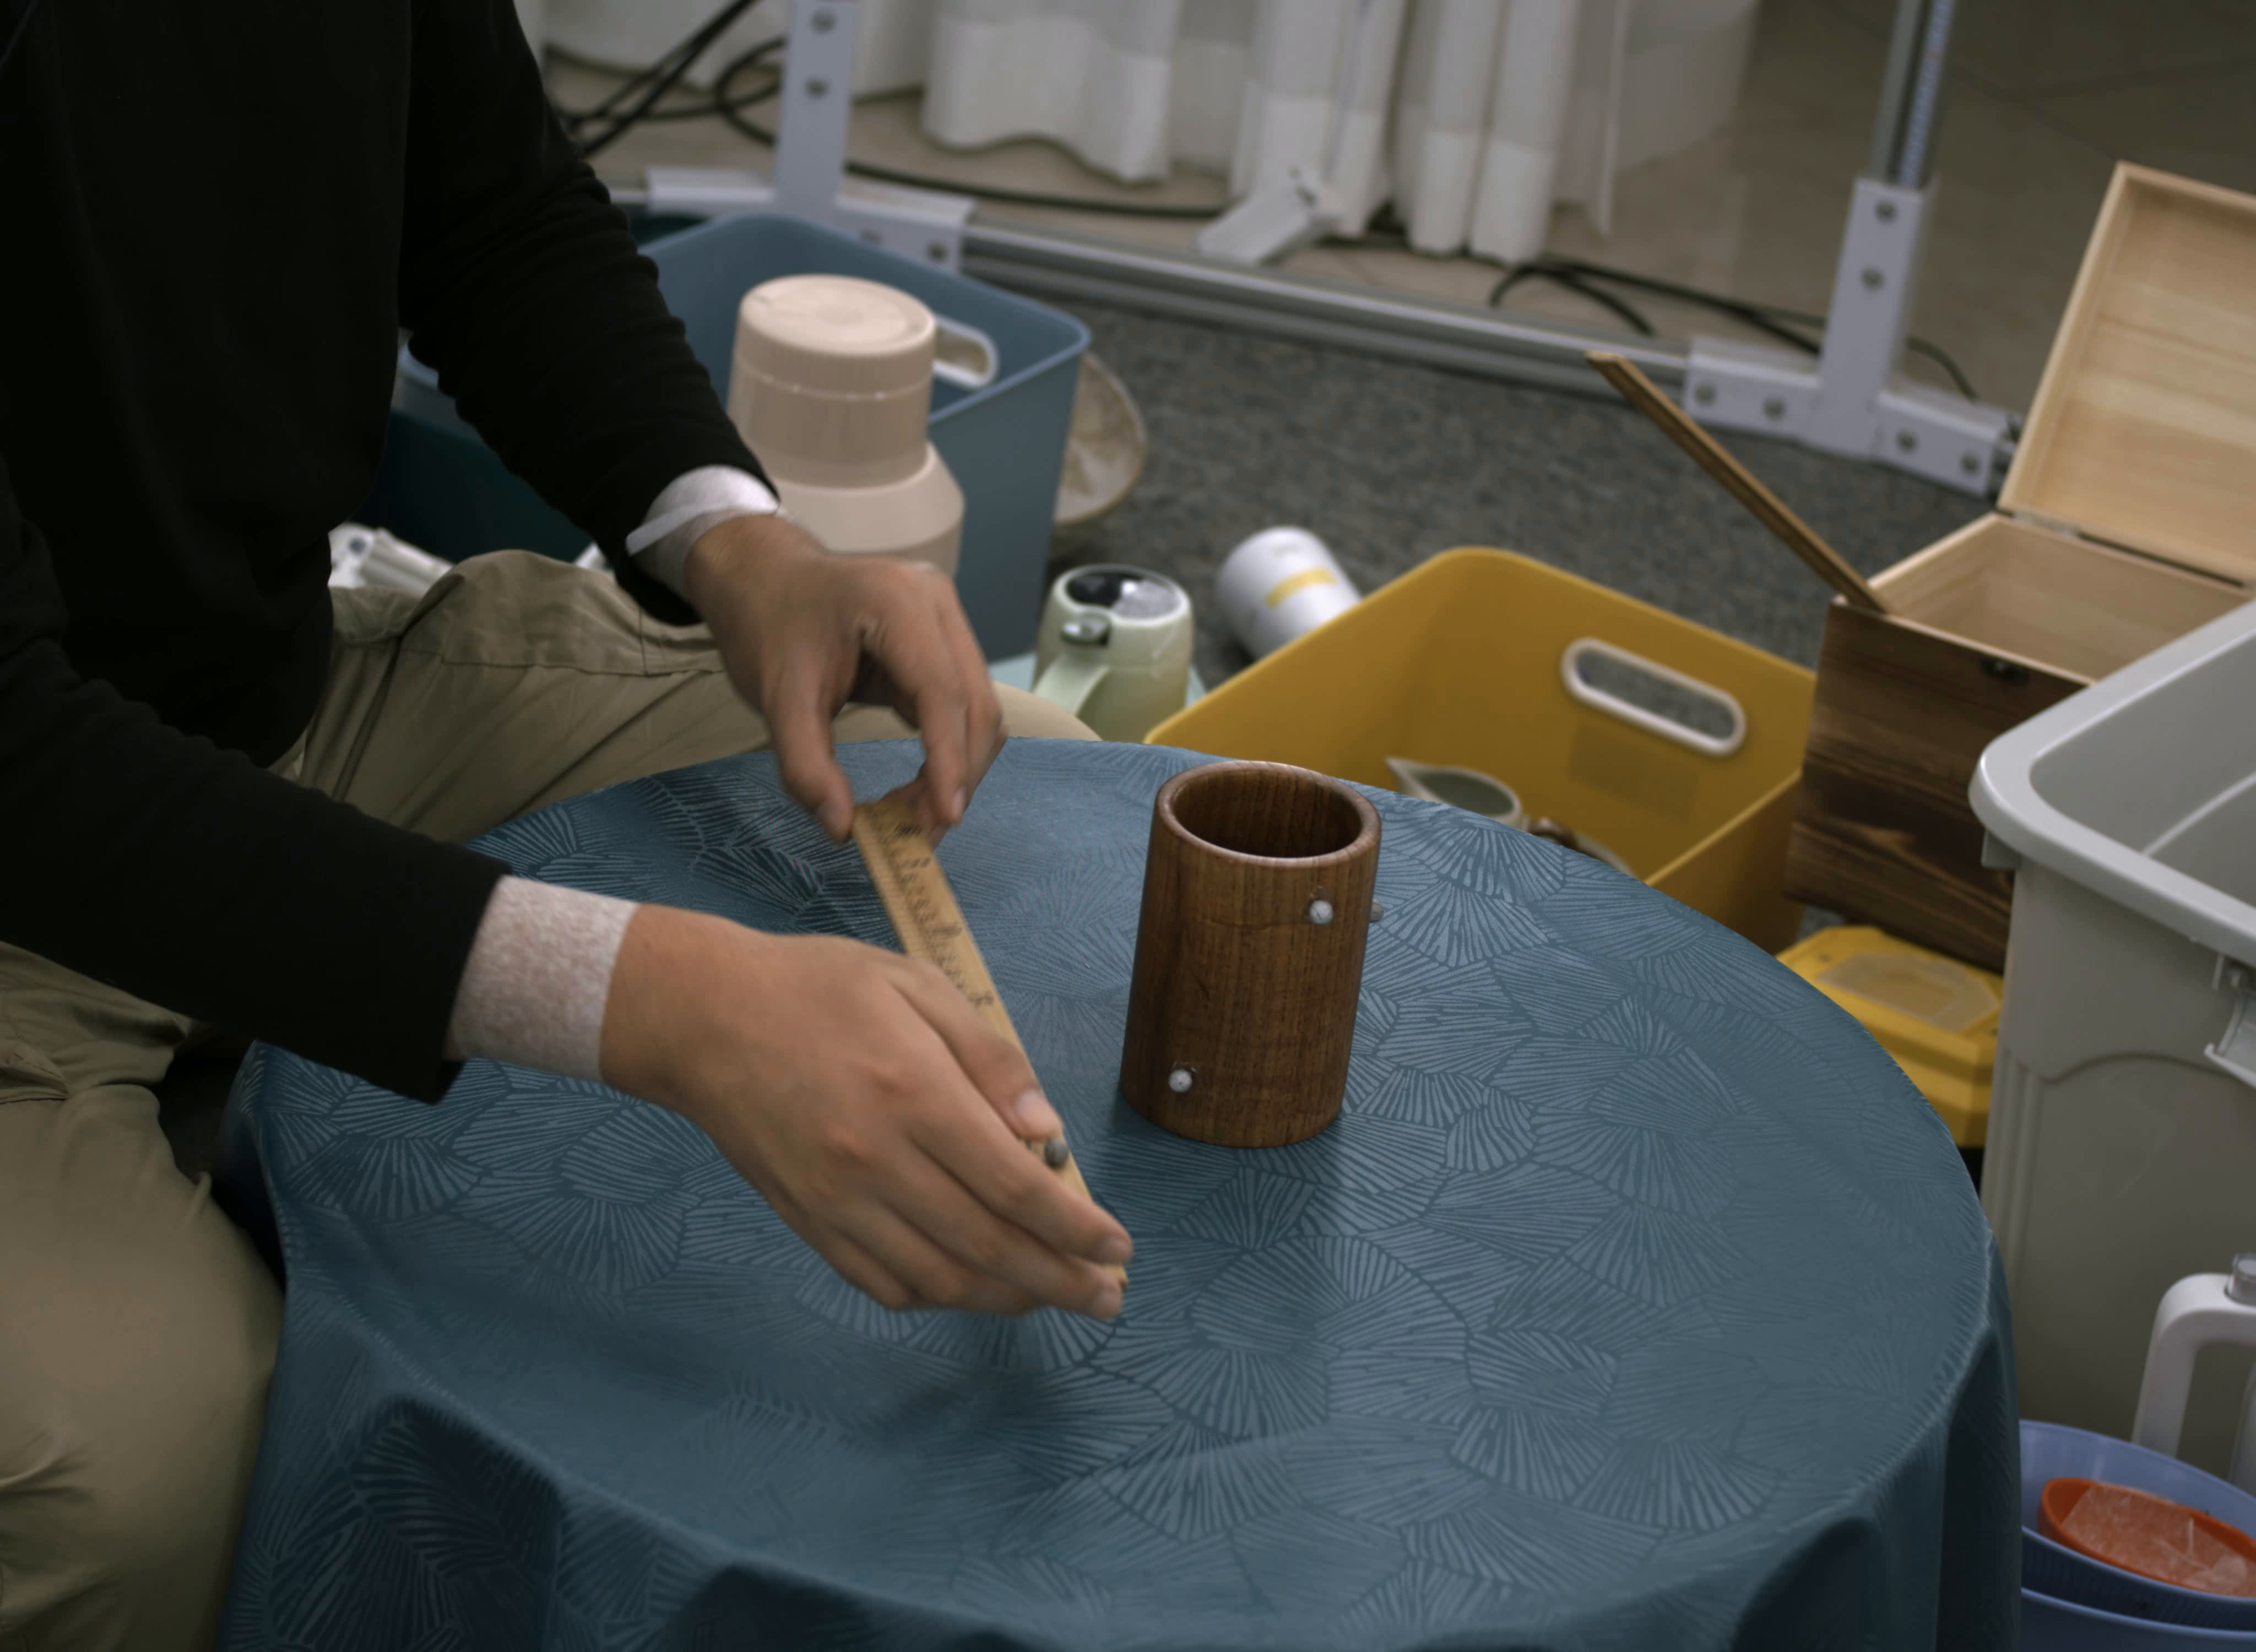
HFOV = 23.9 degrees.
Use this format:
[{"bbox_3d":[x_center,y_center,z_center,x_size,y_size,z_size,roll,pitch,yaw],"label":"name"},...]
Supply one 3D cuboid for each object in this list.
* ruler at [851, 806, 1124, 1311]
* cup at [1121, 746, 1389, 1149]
[{"bbox_3d":[-0.052,0.070,1.807,0.027,0.022,0.334,-2,28,-14],"label":"ruler"},{"bbox_3d":[0.043,0.042,1.843,0.087,0.118,0.088,6,26,-3],"label":"cup"}]
